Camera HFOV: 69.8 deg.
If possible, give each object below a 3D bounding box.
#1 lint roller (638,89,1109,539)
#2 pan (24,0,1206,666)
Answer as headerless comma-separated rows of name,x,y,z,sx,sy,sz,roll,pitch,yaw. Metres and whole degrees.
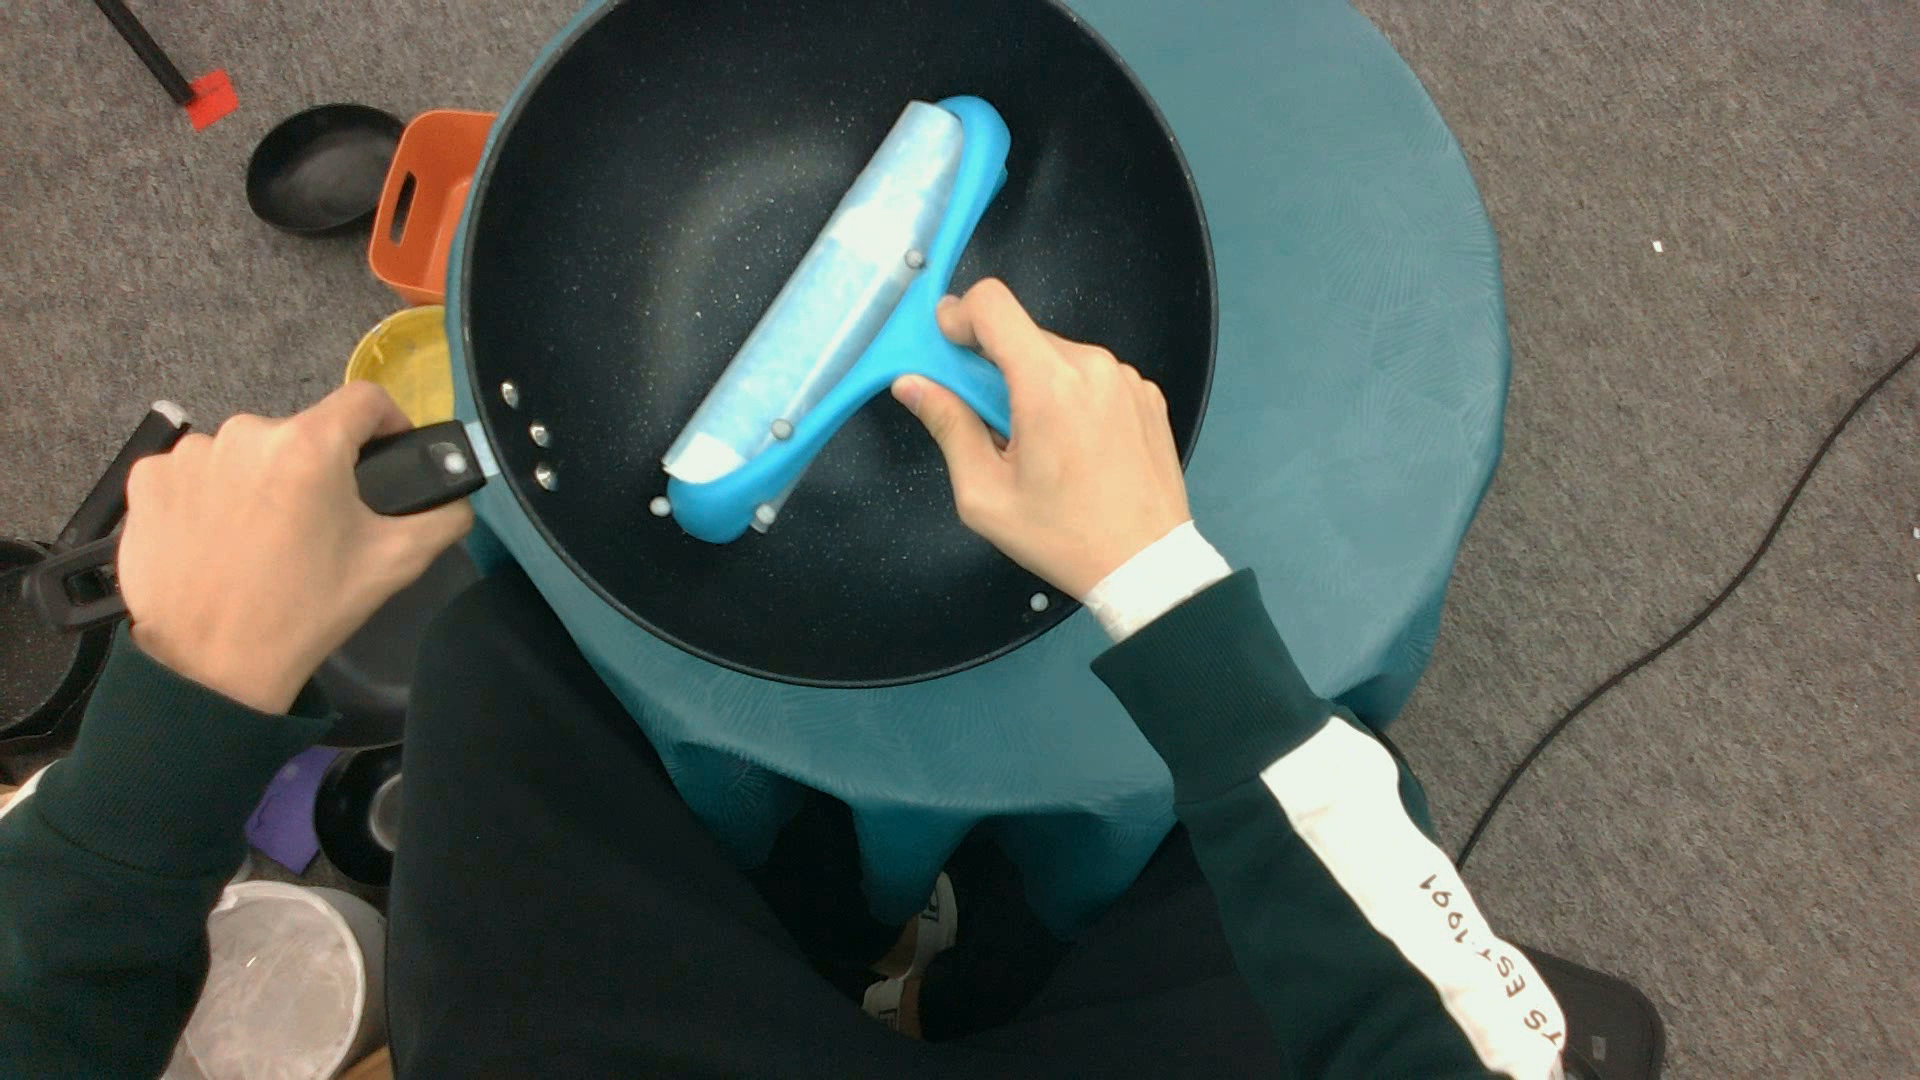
lint roller,-0.020,-0.078,0.580,0.180,0.068,0.229,26,80,27
pan,-0.128,-0.071,0.583,0.477,0.111,0.310,-23,96,-8
